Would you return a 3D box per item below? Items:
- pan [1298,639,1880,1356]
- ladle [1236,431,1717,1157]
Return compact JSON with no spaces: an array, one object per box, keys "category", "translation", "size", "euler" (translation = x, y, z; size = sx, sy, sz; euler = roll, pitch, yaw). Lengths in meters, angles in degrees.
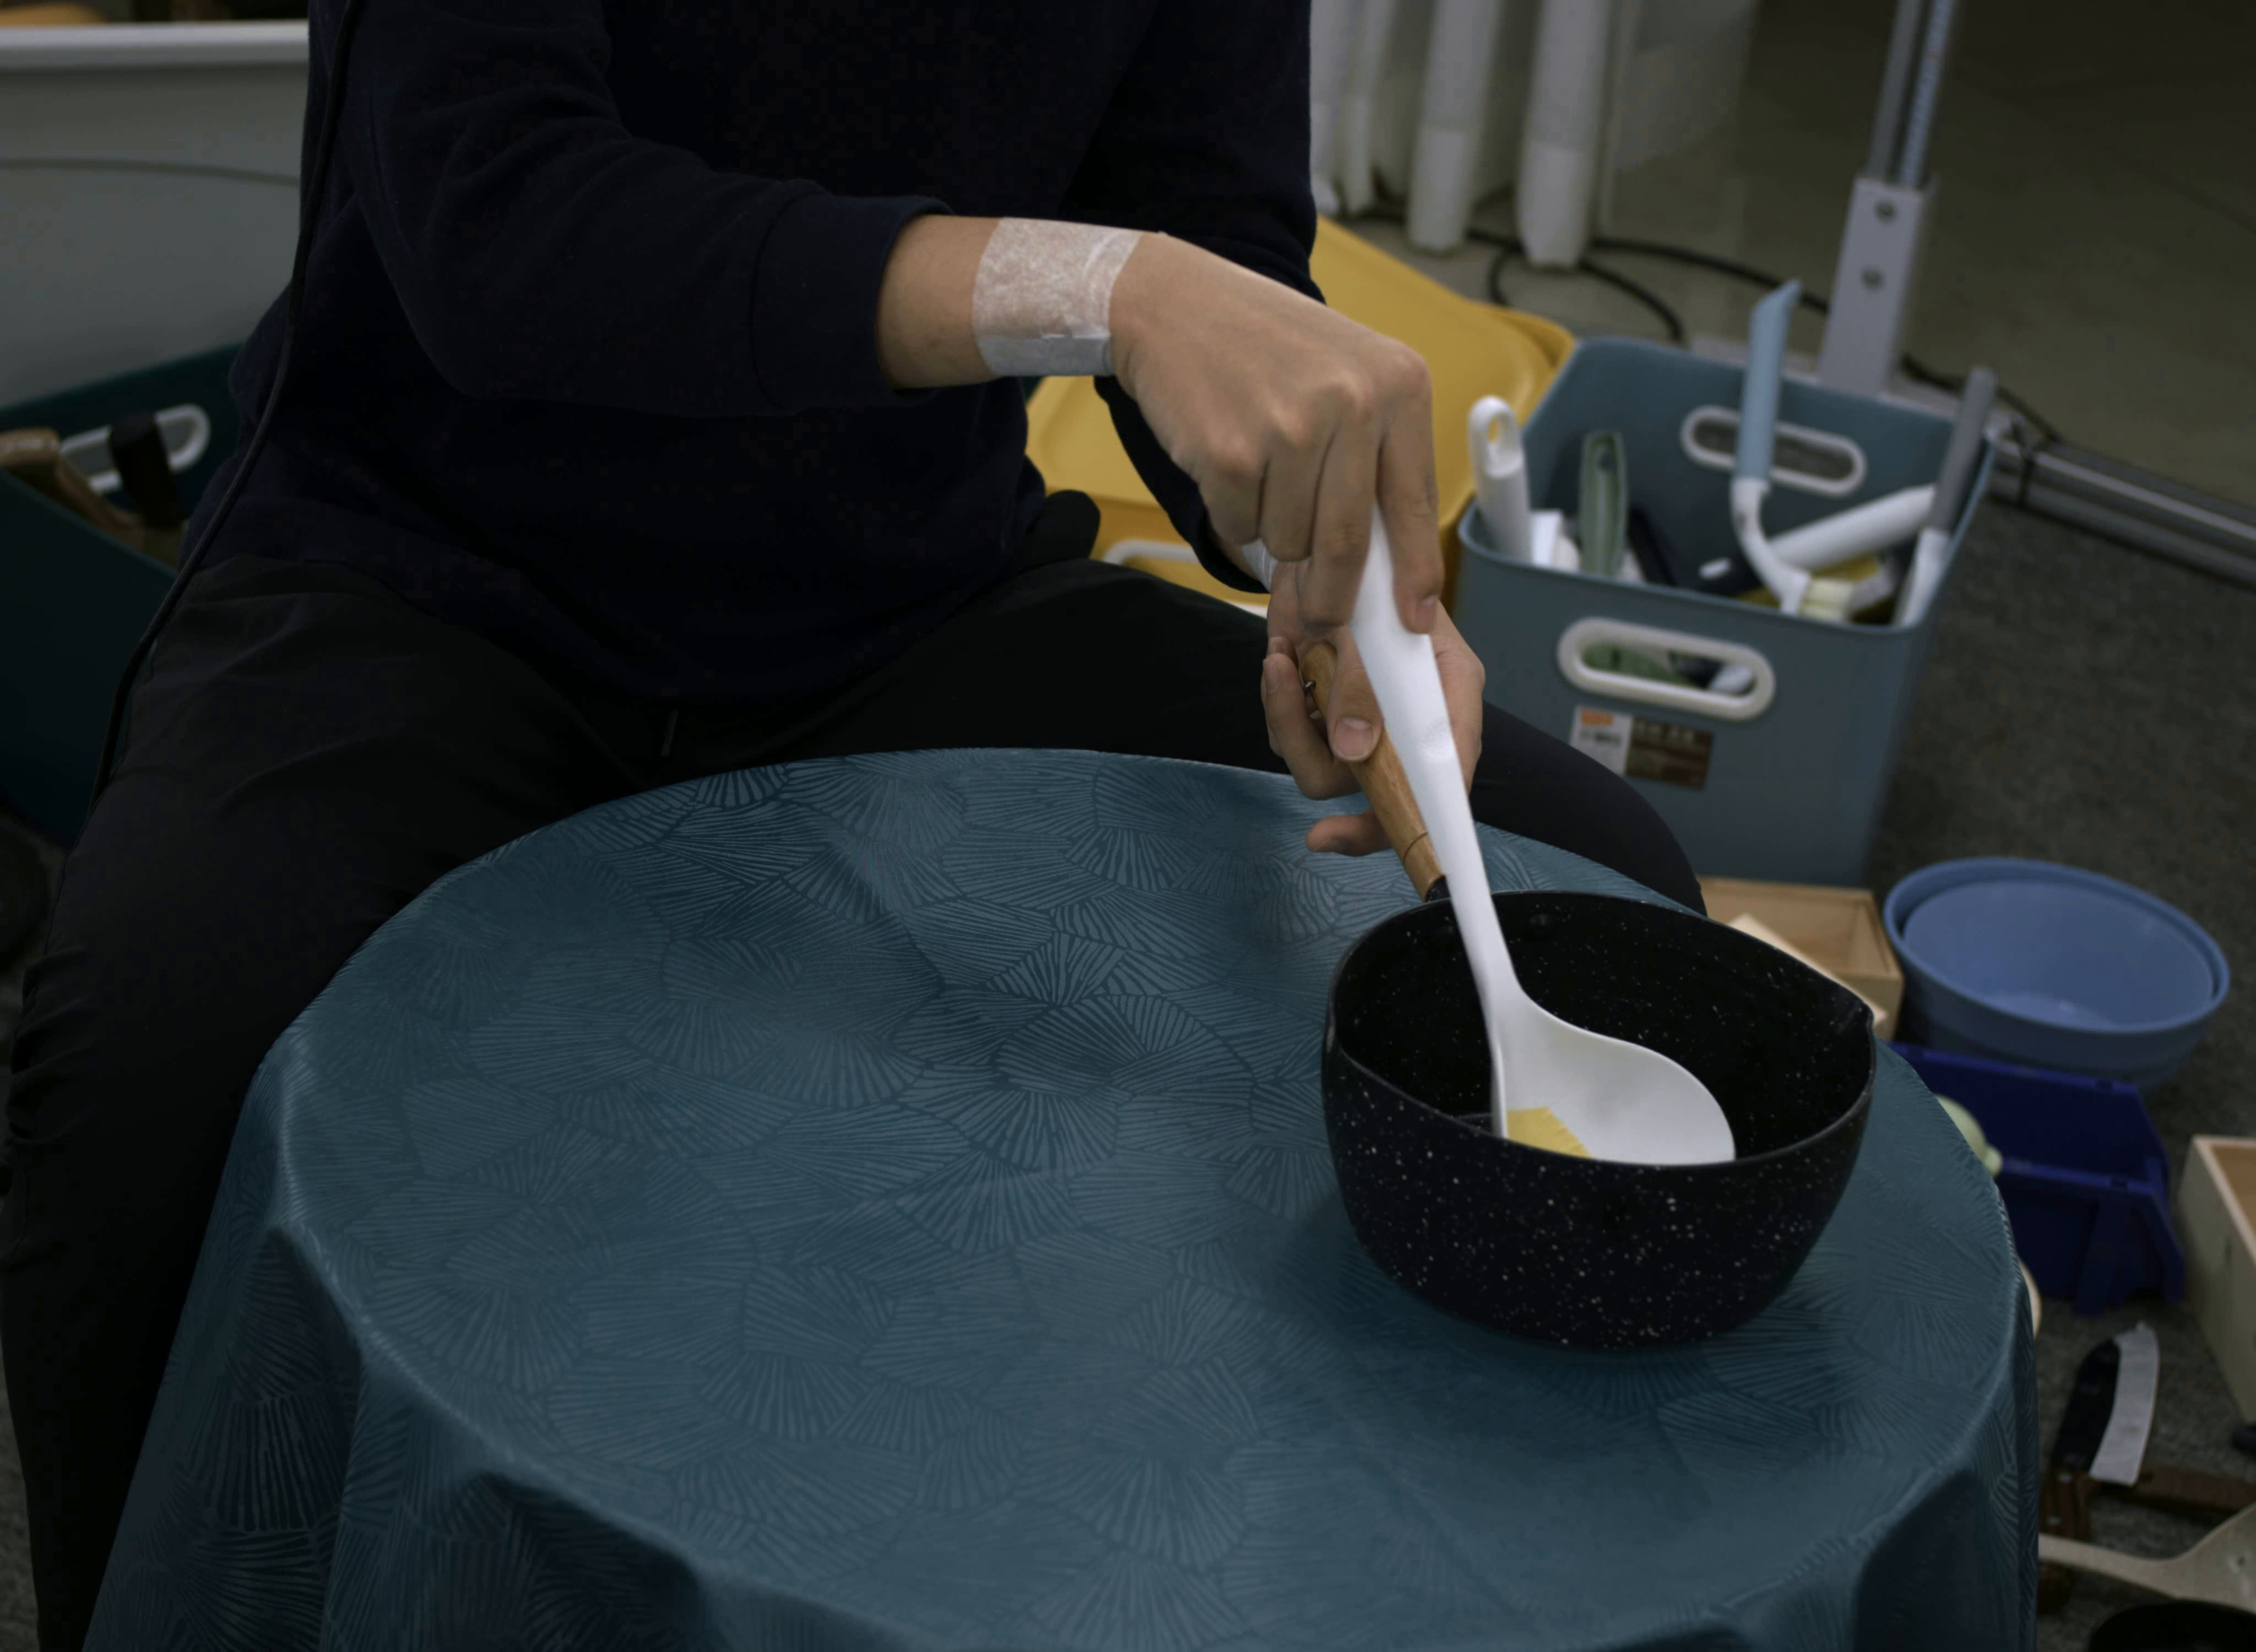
[{"category":"pan","translation":[0.126,0.055,1.847],"size":[0.206,0.108,0.346],"euler":[-6,31,-21]},{"category":"ladle","translation":[0.111,0.006,1.783],"size":[0.090,0.292,0.070],"euler":[-26,12,-25]}]
